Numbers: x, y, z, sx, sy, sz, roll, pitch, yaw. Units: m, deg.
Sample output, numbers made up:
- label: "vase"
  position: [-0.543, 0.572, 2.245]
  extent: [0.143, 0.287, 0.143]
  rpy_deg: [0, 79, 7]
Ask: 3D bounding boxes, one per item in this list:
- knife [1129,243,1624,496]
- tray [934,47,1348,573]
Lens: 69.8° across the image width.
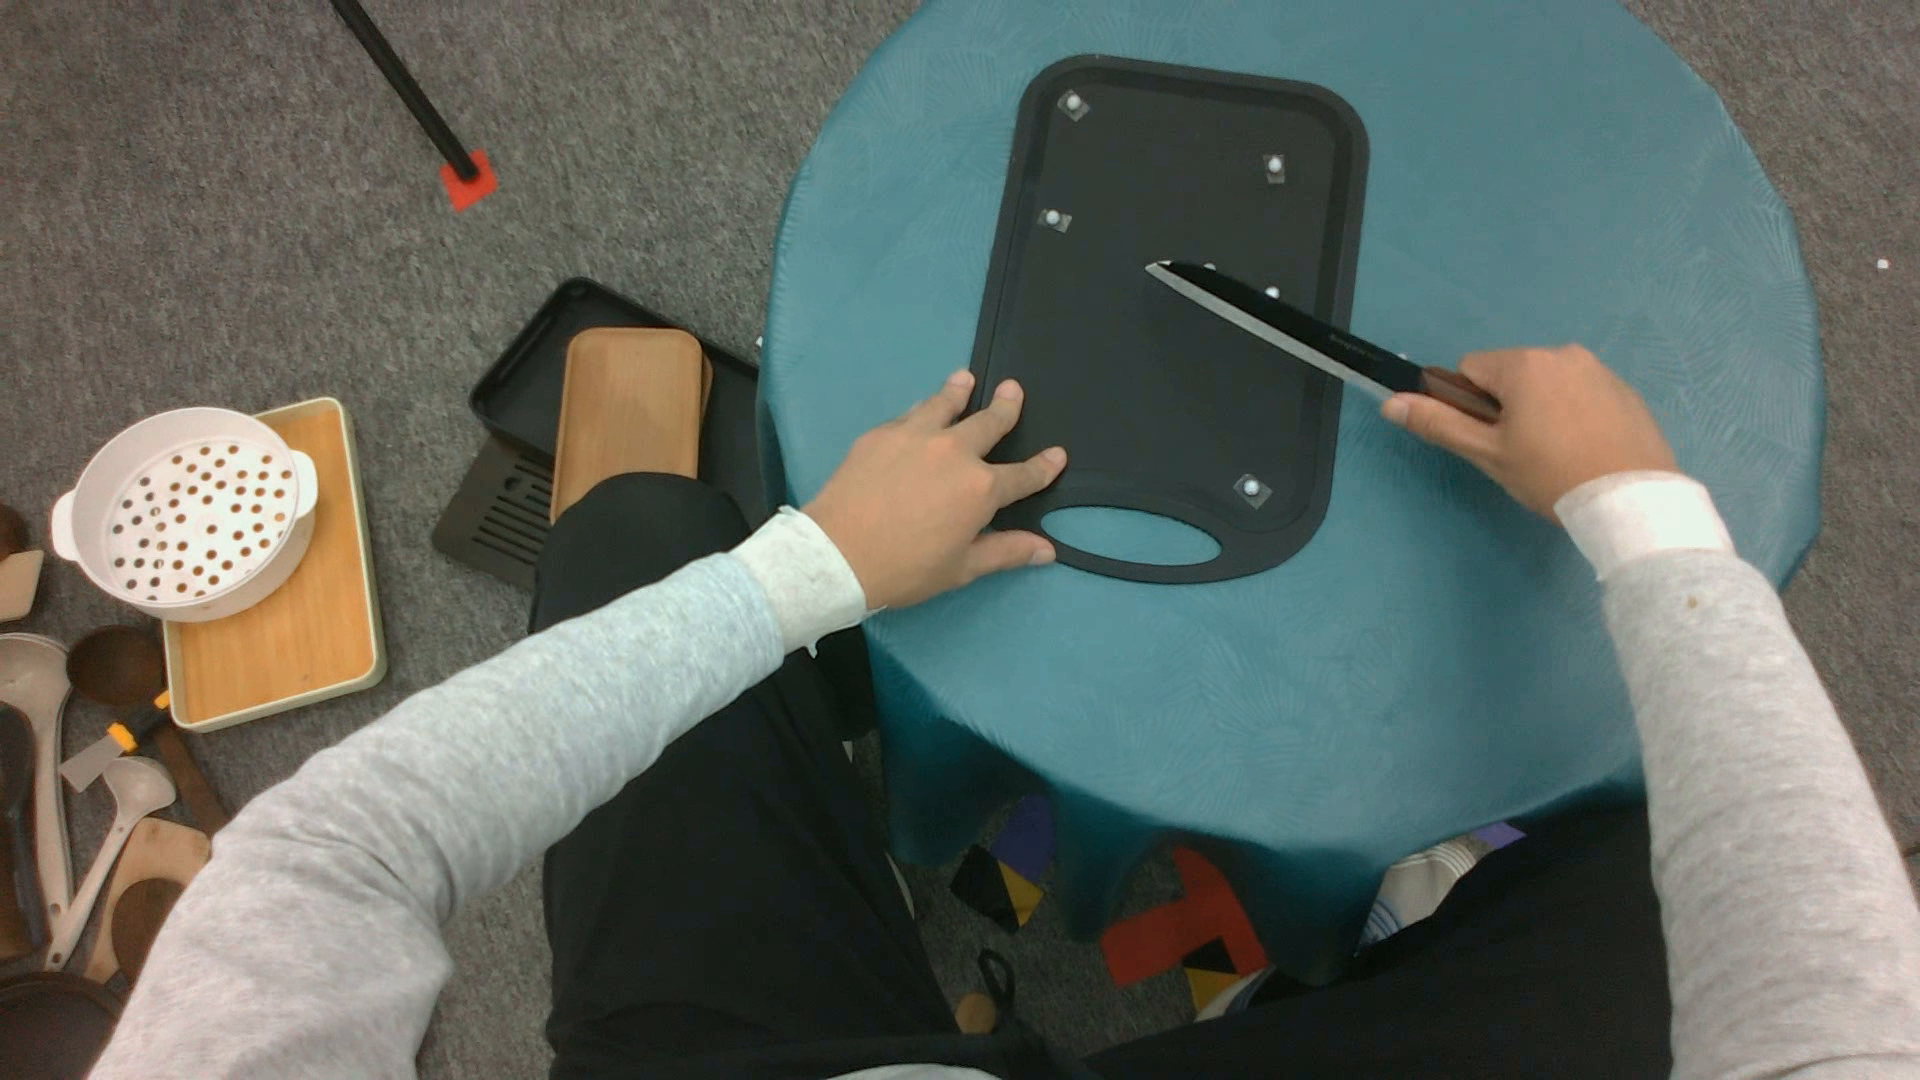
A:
- label: "knife"
  position: [0.219, -0.098, 0.751]
  extent: [0.289, 0.050, 0.020]
  rpy_deg: [29, 69, 14]
- label: "tray"
  position: [0.107, -0.139, 0.791]
  extent: [0.211, 0.010, 0.326]
  rpy_deg: [10, 73, 4]
